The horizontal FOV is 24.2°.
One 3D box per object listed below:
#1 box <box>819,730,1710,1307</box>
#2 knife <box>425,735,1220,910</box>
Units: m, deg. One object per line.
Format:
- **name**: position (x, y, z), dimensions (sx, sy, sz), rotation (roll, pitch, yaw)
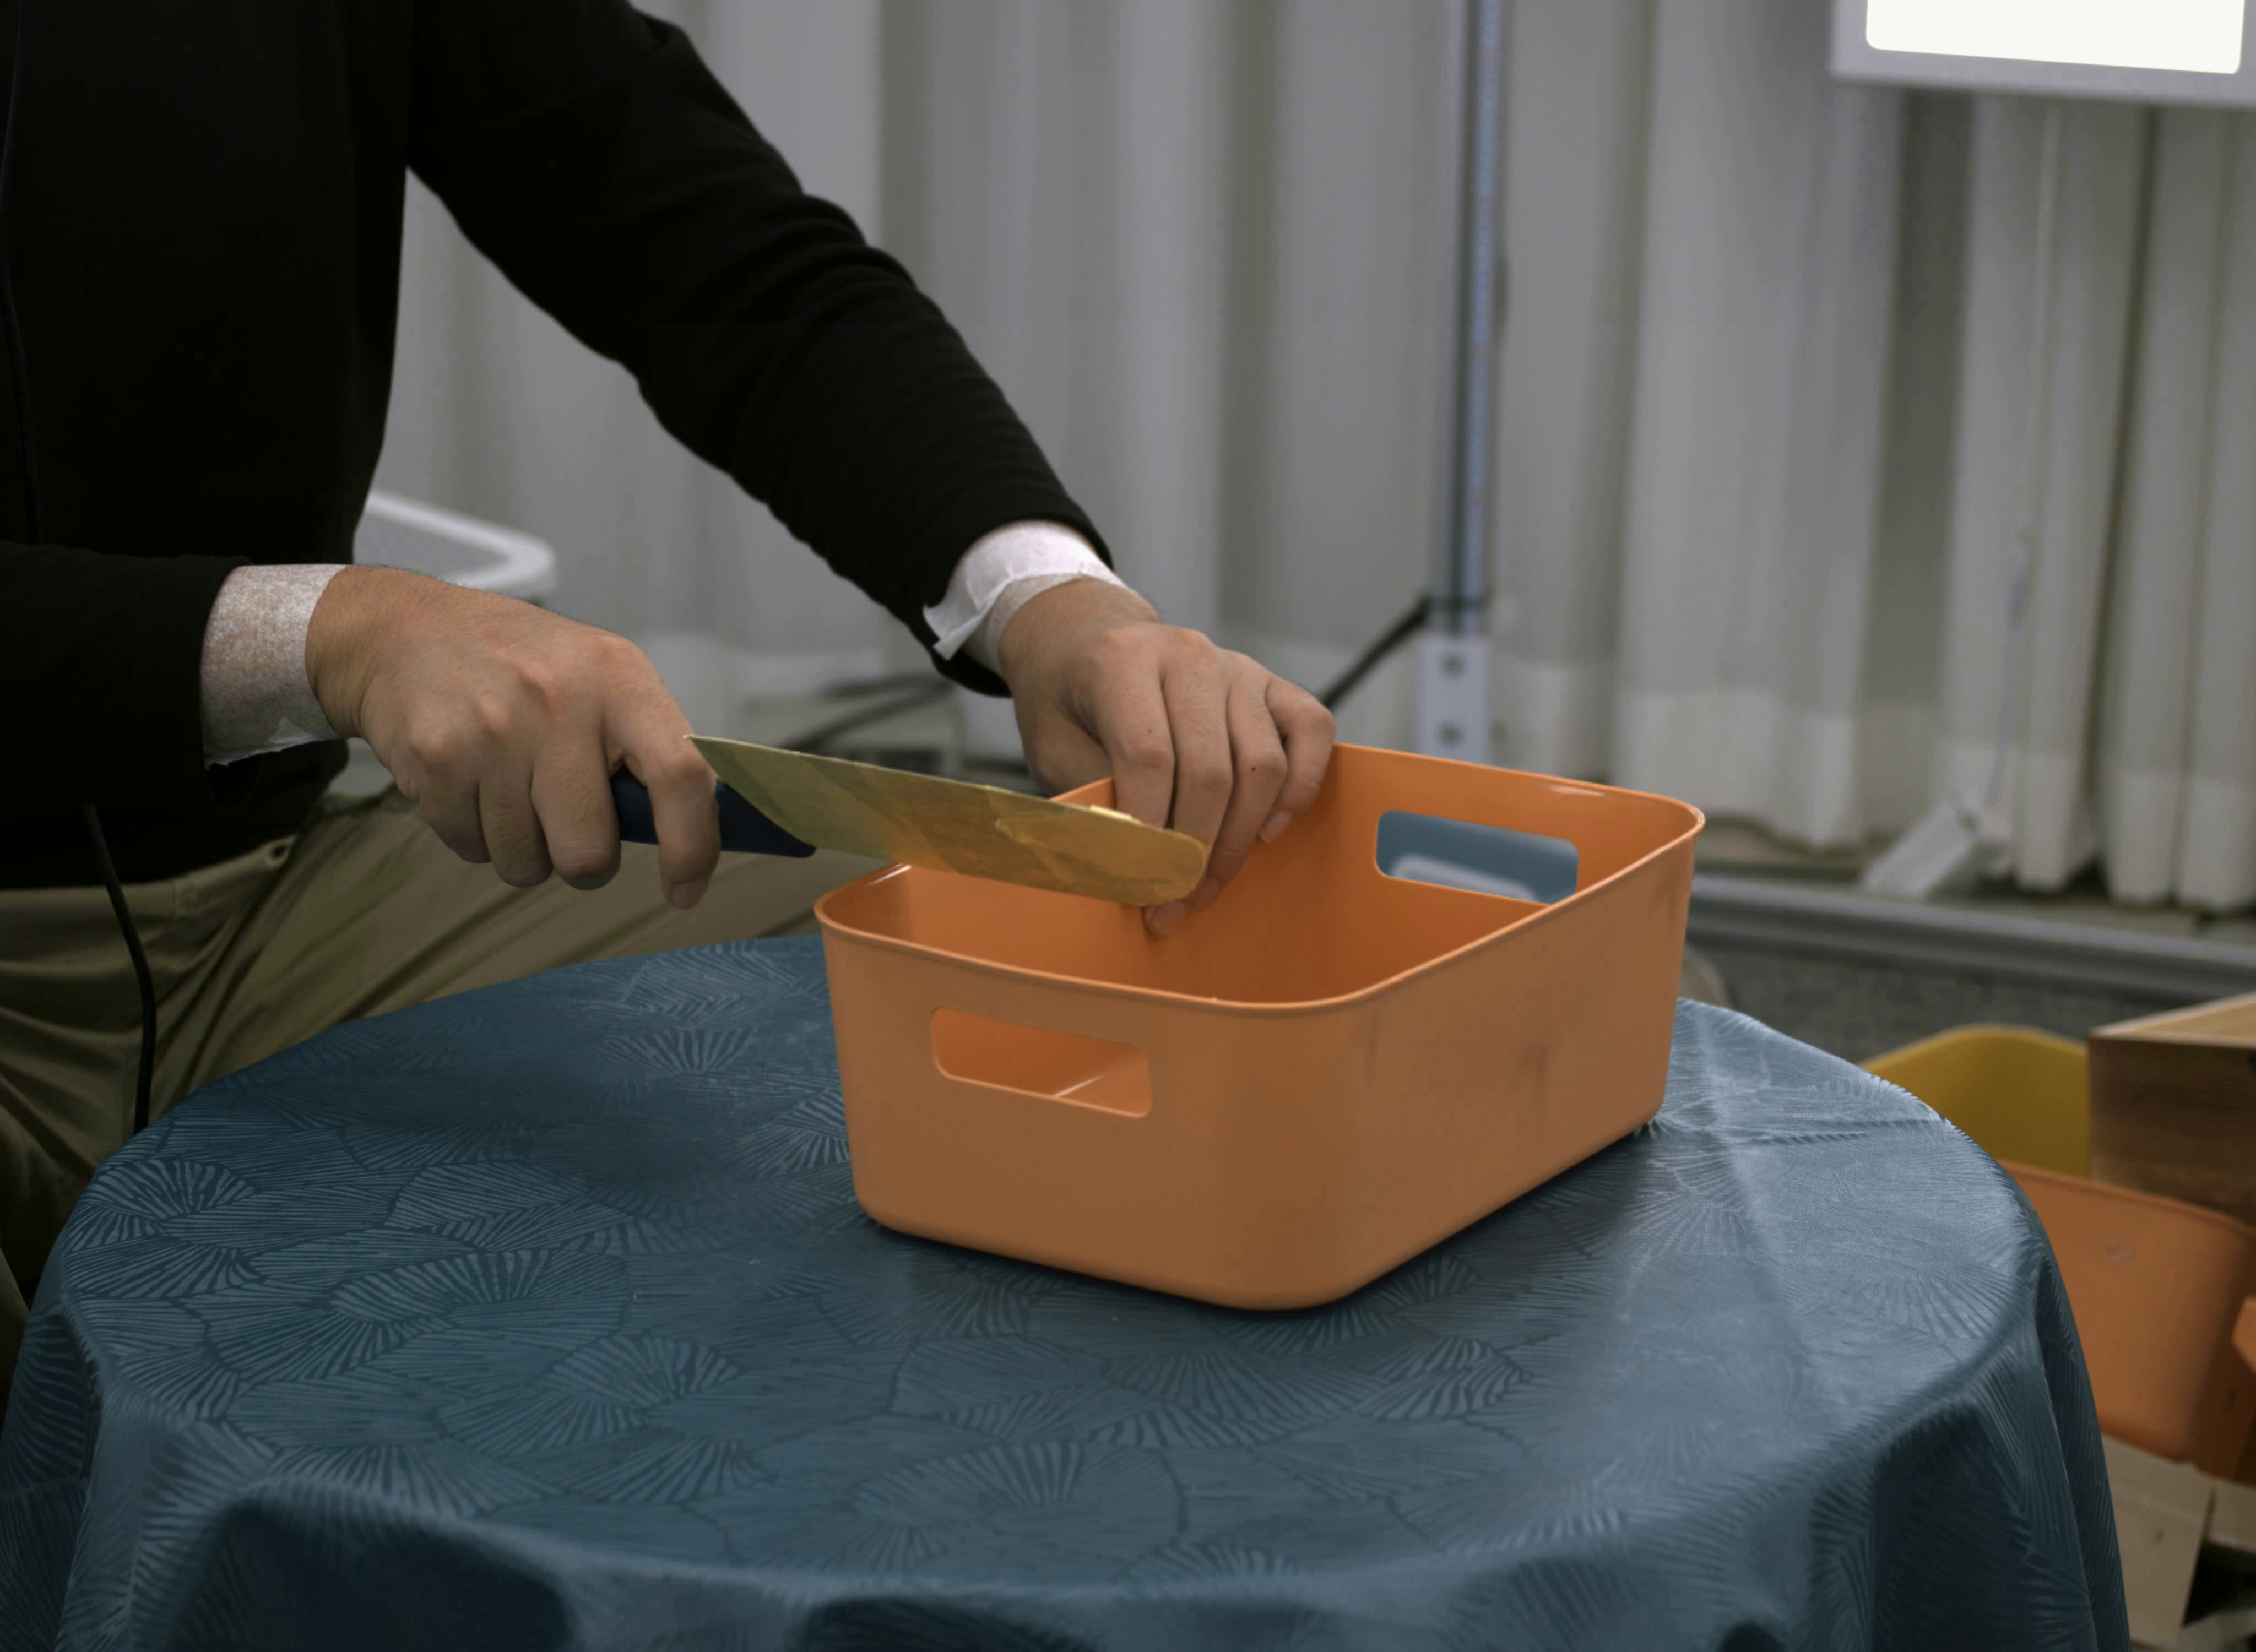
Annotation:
- **box**: position (0.044, 0.056, 1.630), dimensions (0.197, 0.103, 0.274), rotation (11, 19, 31)
- **knife**: position (-0.099, -0.004, 1.590), dimensions (0.286, 0.027, 0.082), rotation (6, -27, 29)
